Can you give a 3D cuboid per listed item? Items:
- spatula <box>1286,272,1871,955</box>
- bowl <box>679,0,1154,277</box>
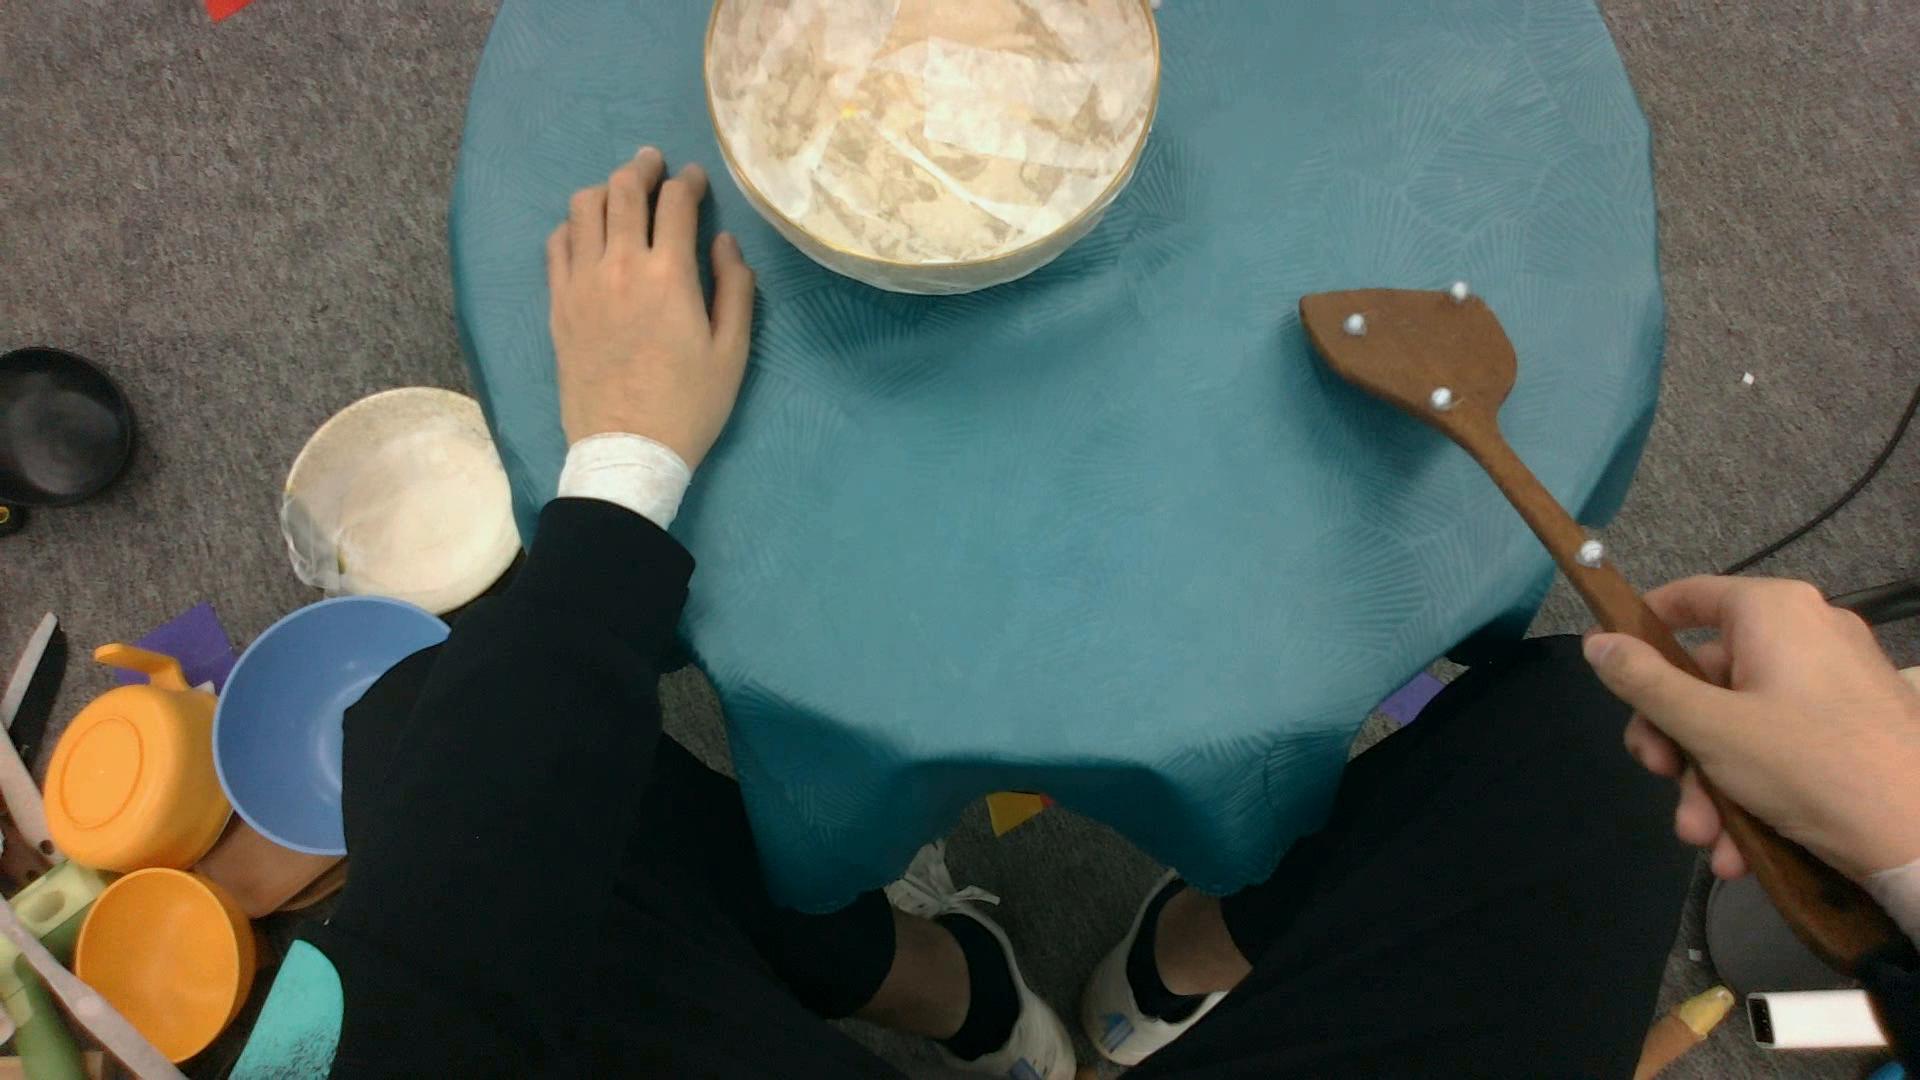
[{"bbox_3d":[0.224,-0.009,0.531,0.096,0.016,0.387,-1,39,-9],"label":"spatula"},{"bbox_3d":[-0.022,-0.204,0.644,0.215,0.094,0.215,1,75,-3],"label":"bowl"}]
